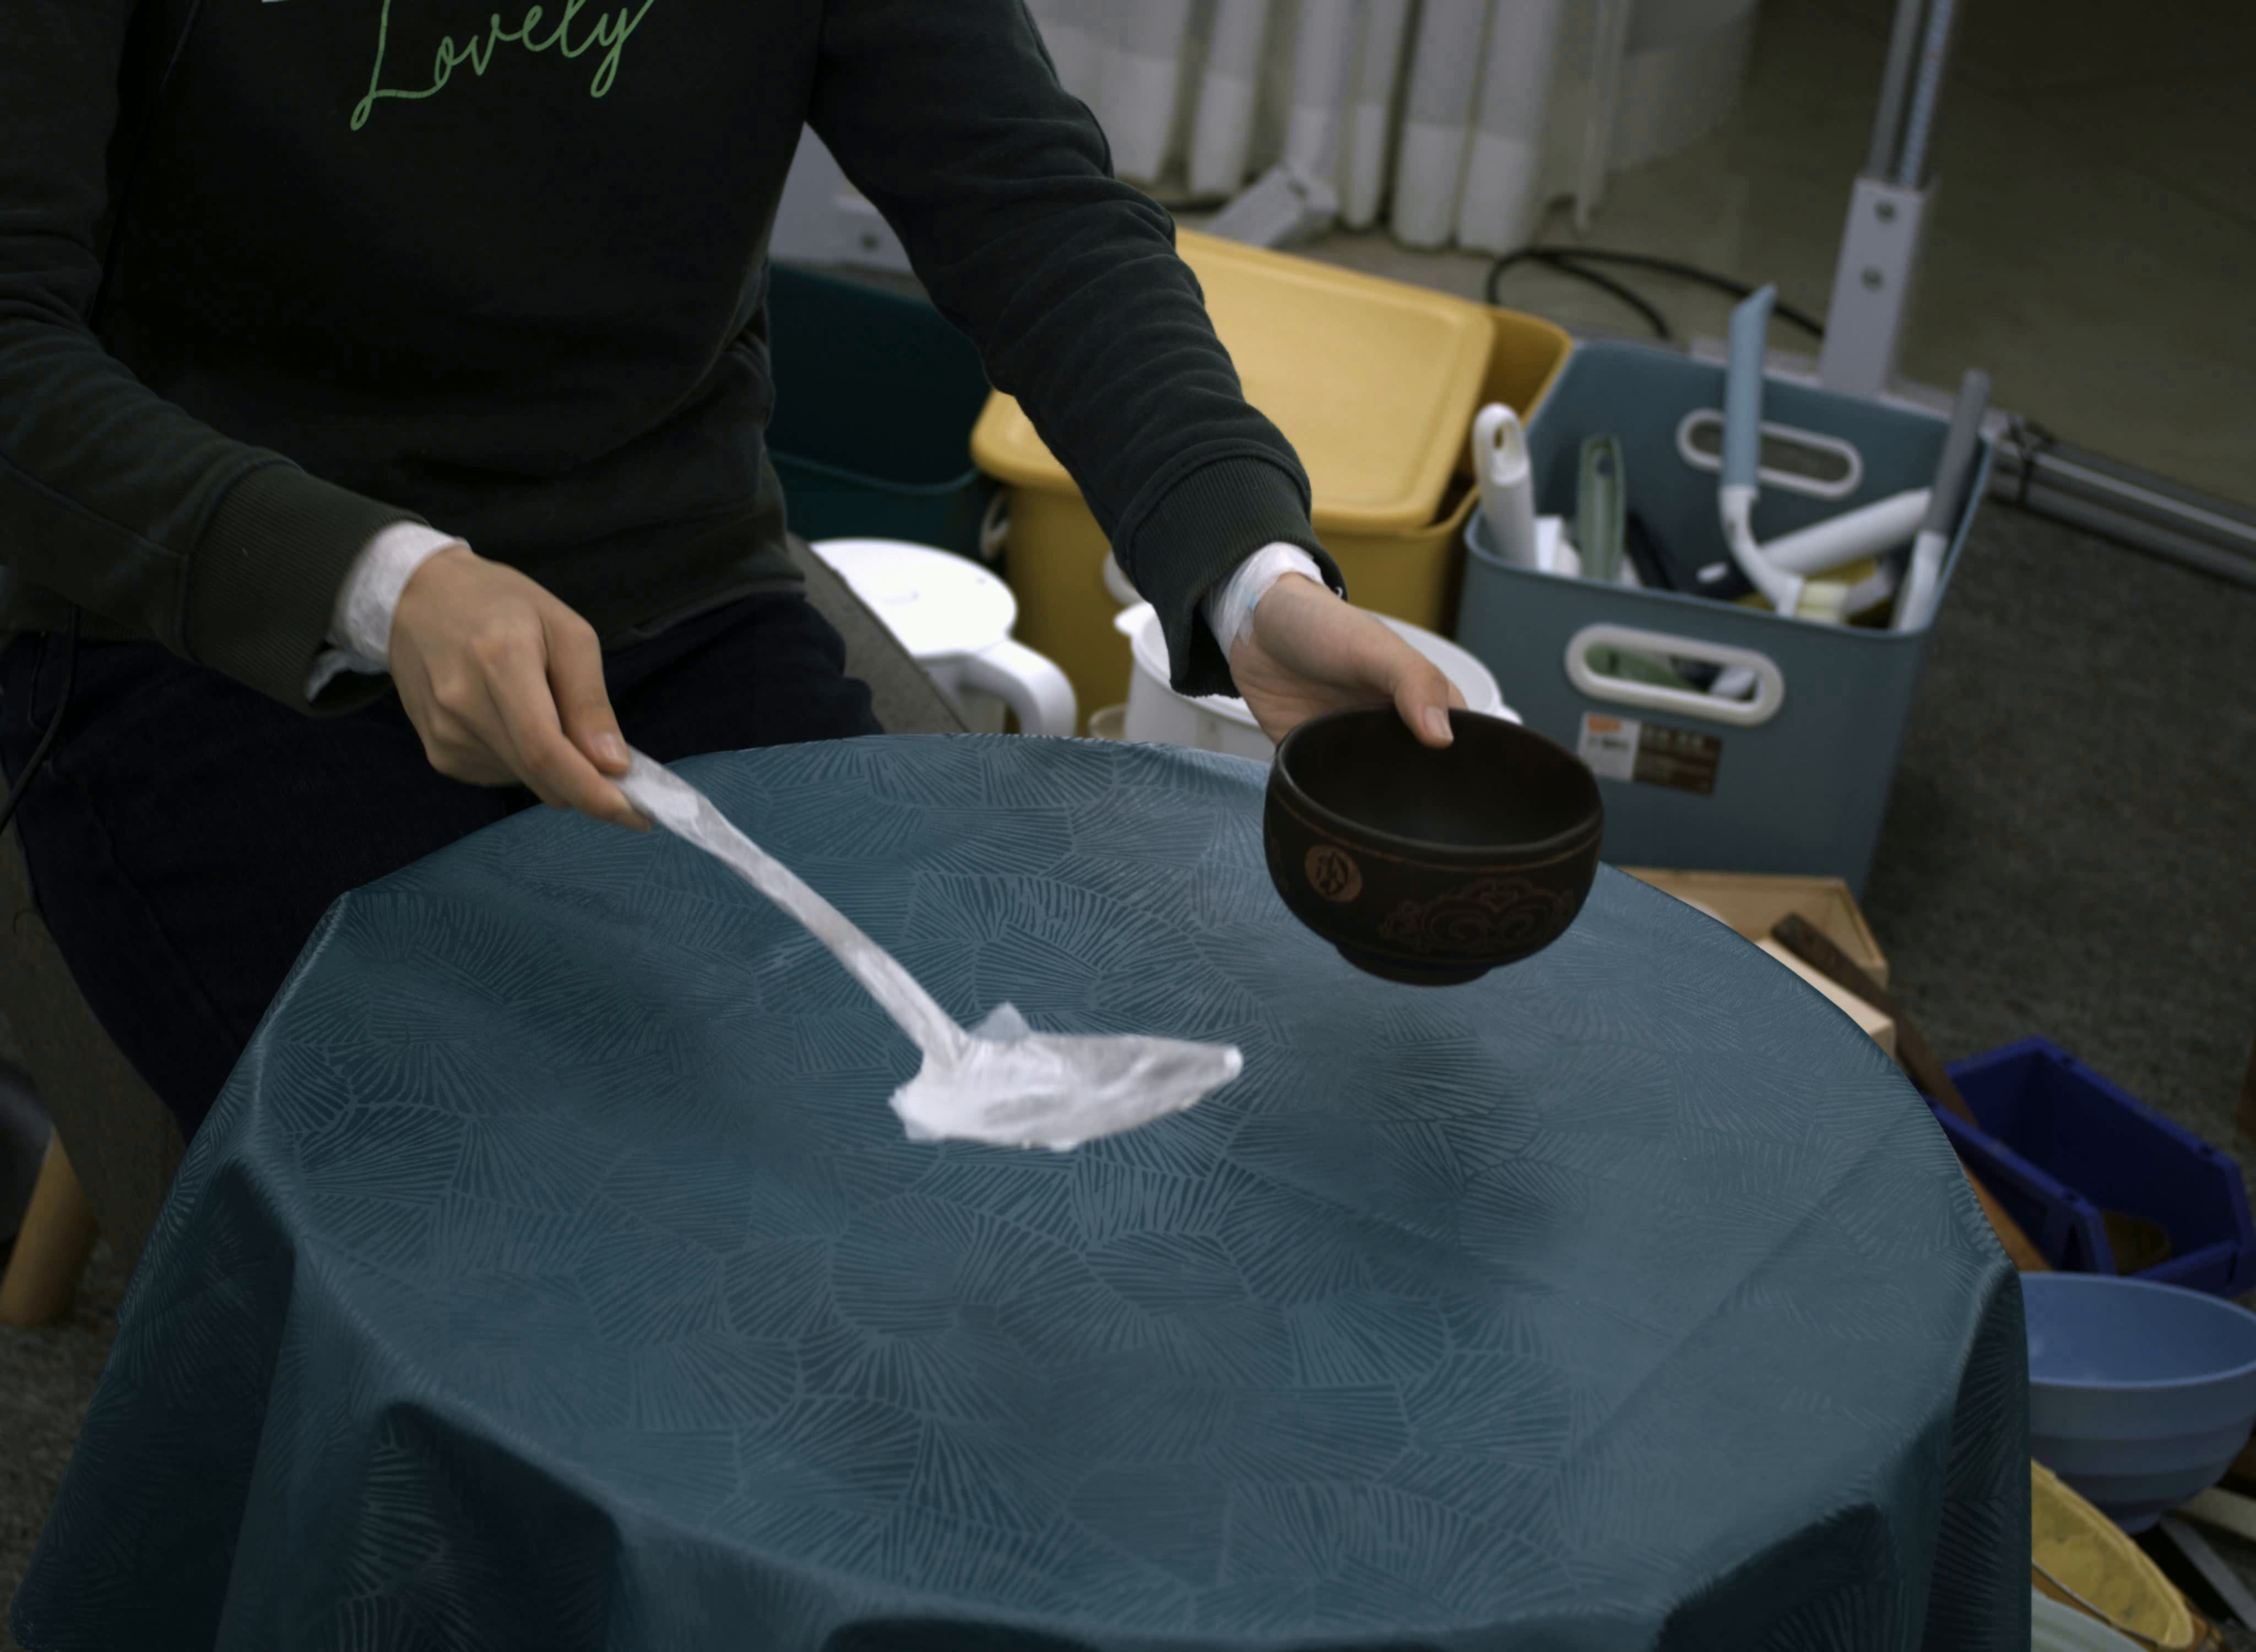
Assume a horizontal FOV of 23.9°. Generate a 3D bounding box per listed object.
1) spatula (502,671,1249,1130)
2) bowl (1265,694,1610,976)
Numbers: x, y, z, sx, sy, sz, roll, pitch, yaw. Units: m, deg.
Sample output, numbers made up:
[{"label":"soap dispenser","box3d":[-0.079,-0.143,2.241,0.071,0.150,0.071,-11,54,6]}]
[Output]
[{"label":"spatula","box3d":[-0.105,0.015,1.736,0.098,0.044,0.368,-21,40,-34]},{"label":"bowl","box3d":[0.104,0.009,1.840,0.117,0.069,0.118,6,24,-3]}]
